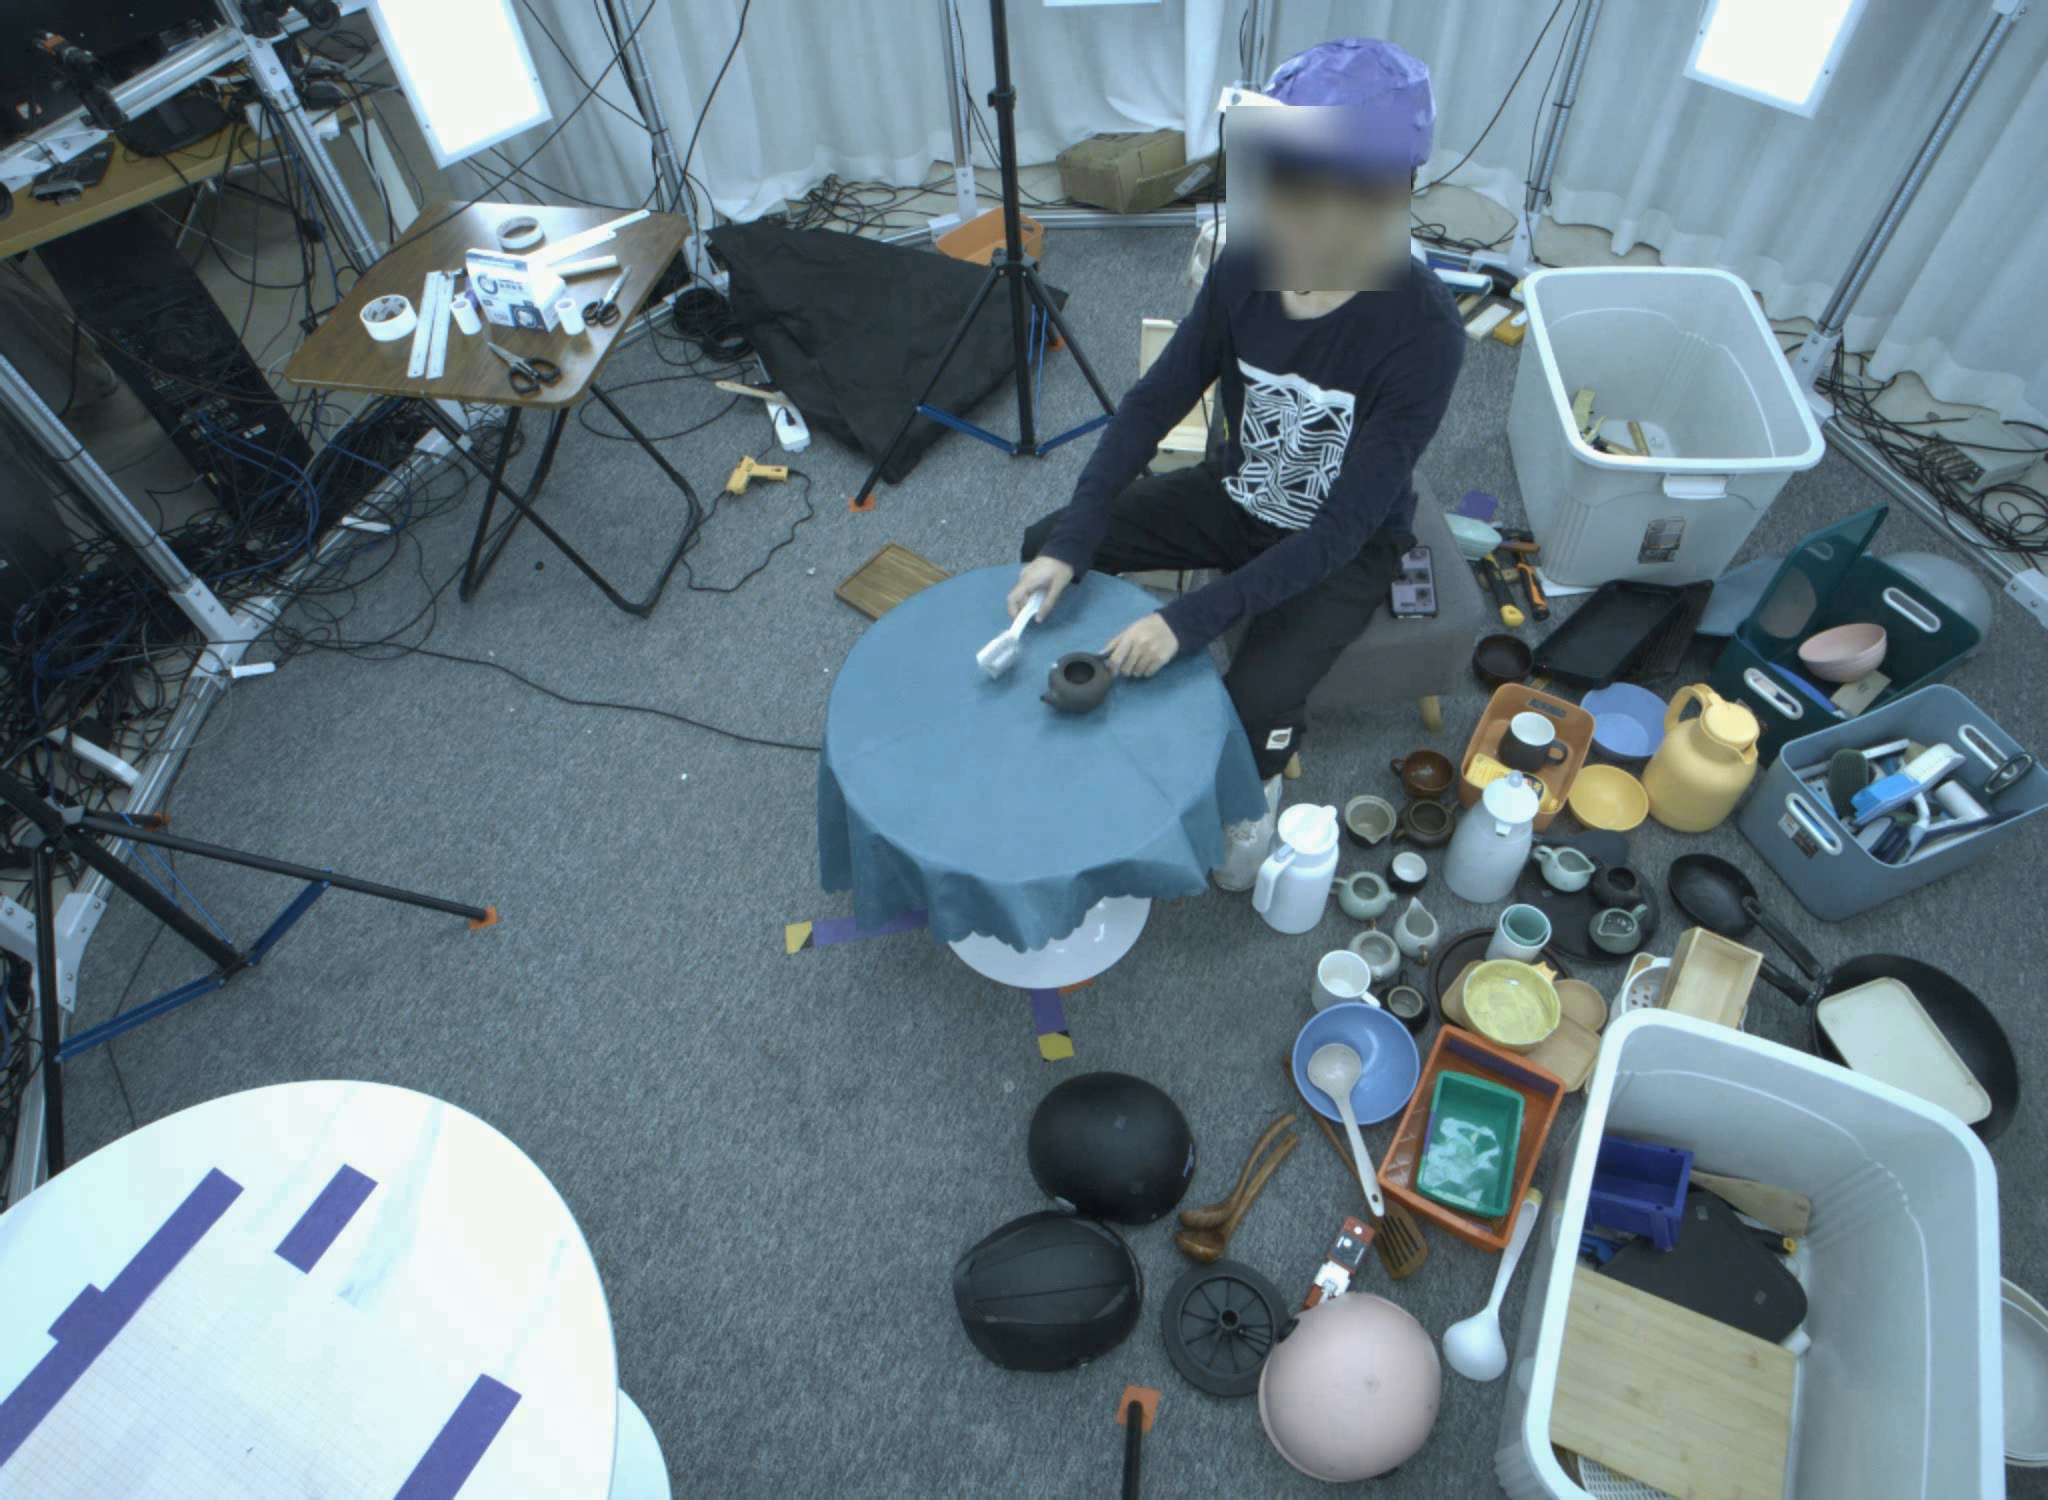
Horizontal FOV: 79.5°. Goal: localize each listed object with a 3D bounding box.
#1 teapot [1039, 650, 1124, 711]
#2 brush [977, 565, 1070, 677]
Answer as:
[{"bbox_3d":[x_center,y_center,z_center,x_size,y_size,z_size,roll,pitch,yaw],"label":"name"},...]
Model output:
[{"bbox_3d":[0.085,-0.102,1.812,0.155,0.065,0.090,-32,58,-20],"label":"teapot"},{"bbox_3d":[0.012,-0.202,1.874,0.049,0.035,0.244,3,47,50],"label":"brush"}]
